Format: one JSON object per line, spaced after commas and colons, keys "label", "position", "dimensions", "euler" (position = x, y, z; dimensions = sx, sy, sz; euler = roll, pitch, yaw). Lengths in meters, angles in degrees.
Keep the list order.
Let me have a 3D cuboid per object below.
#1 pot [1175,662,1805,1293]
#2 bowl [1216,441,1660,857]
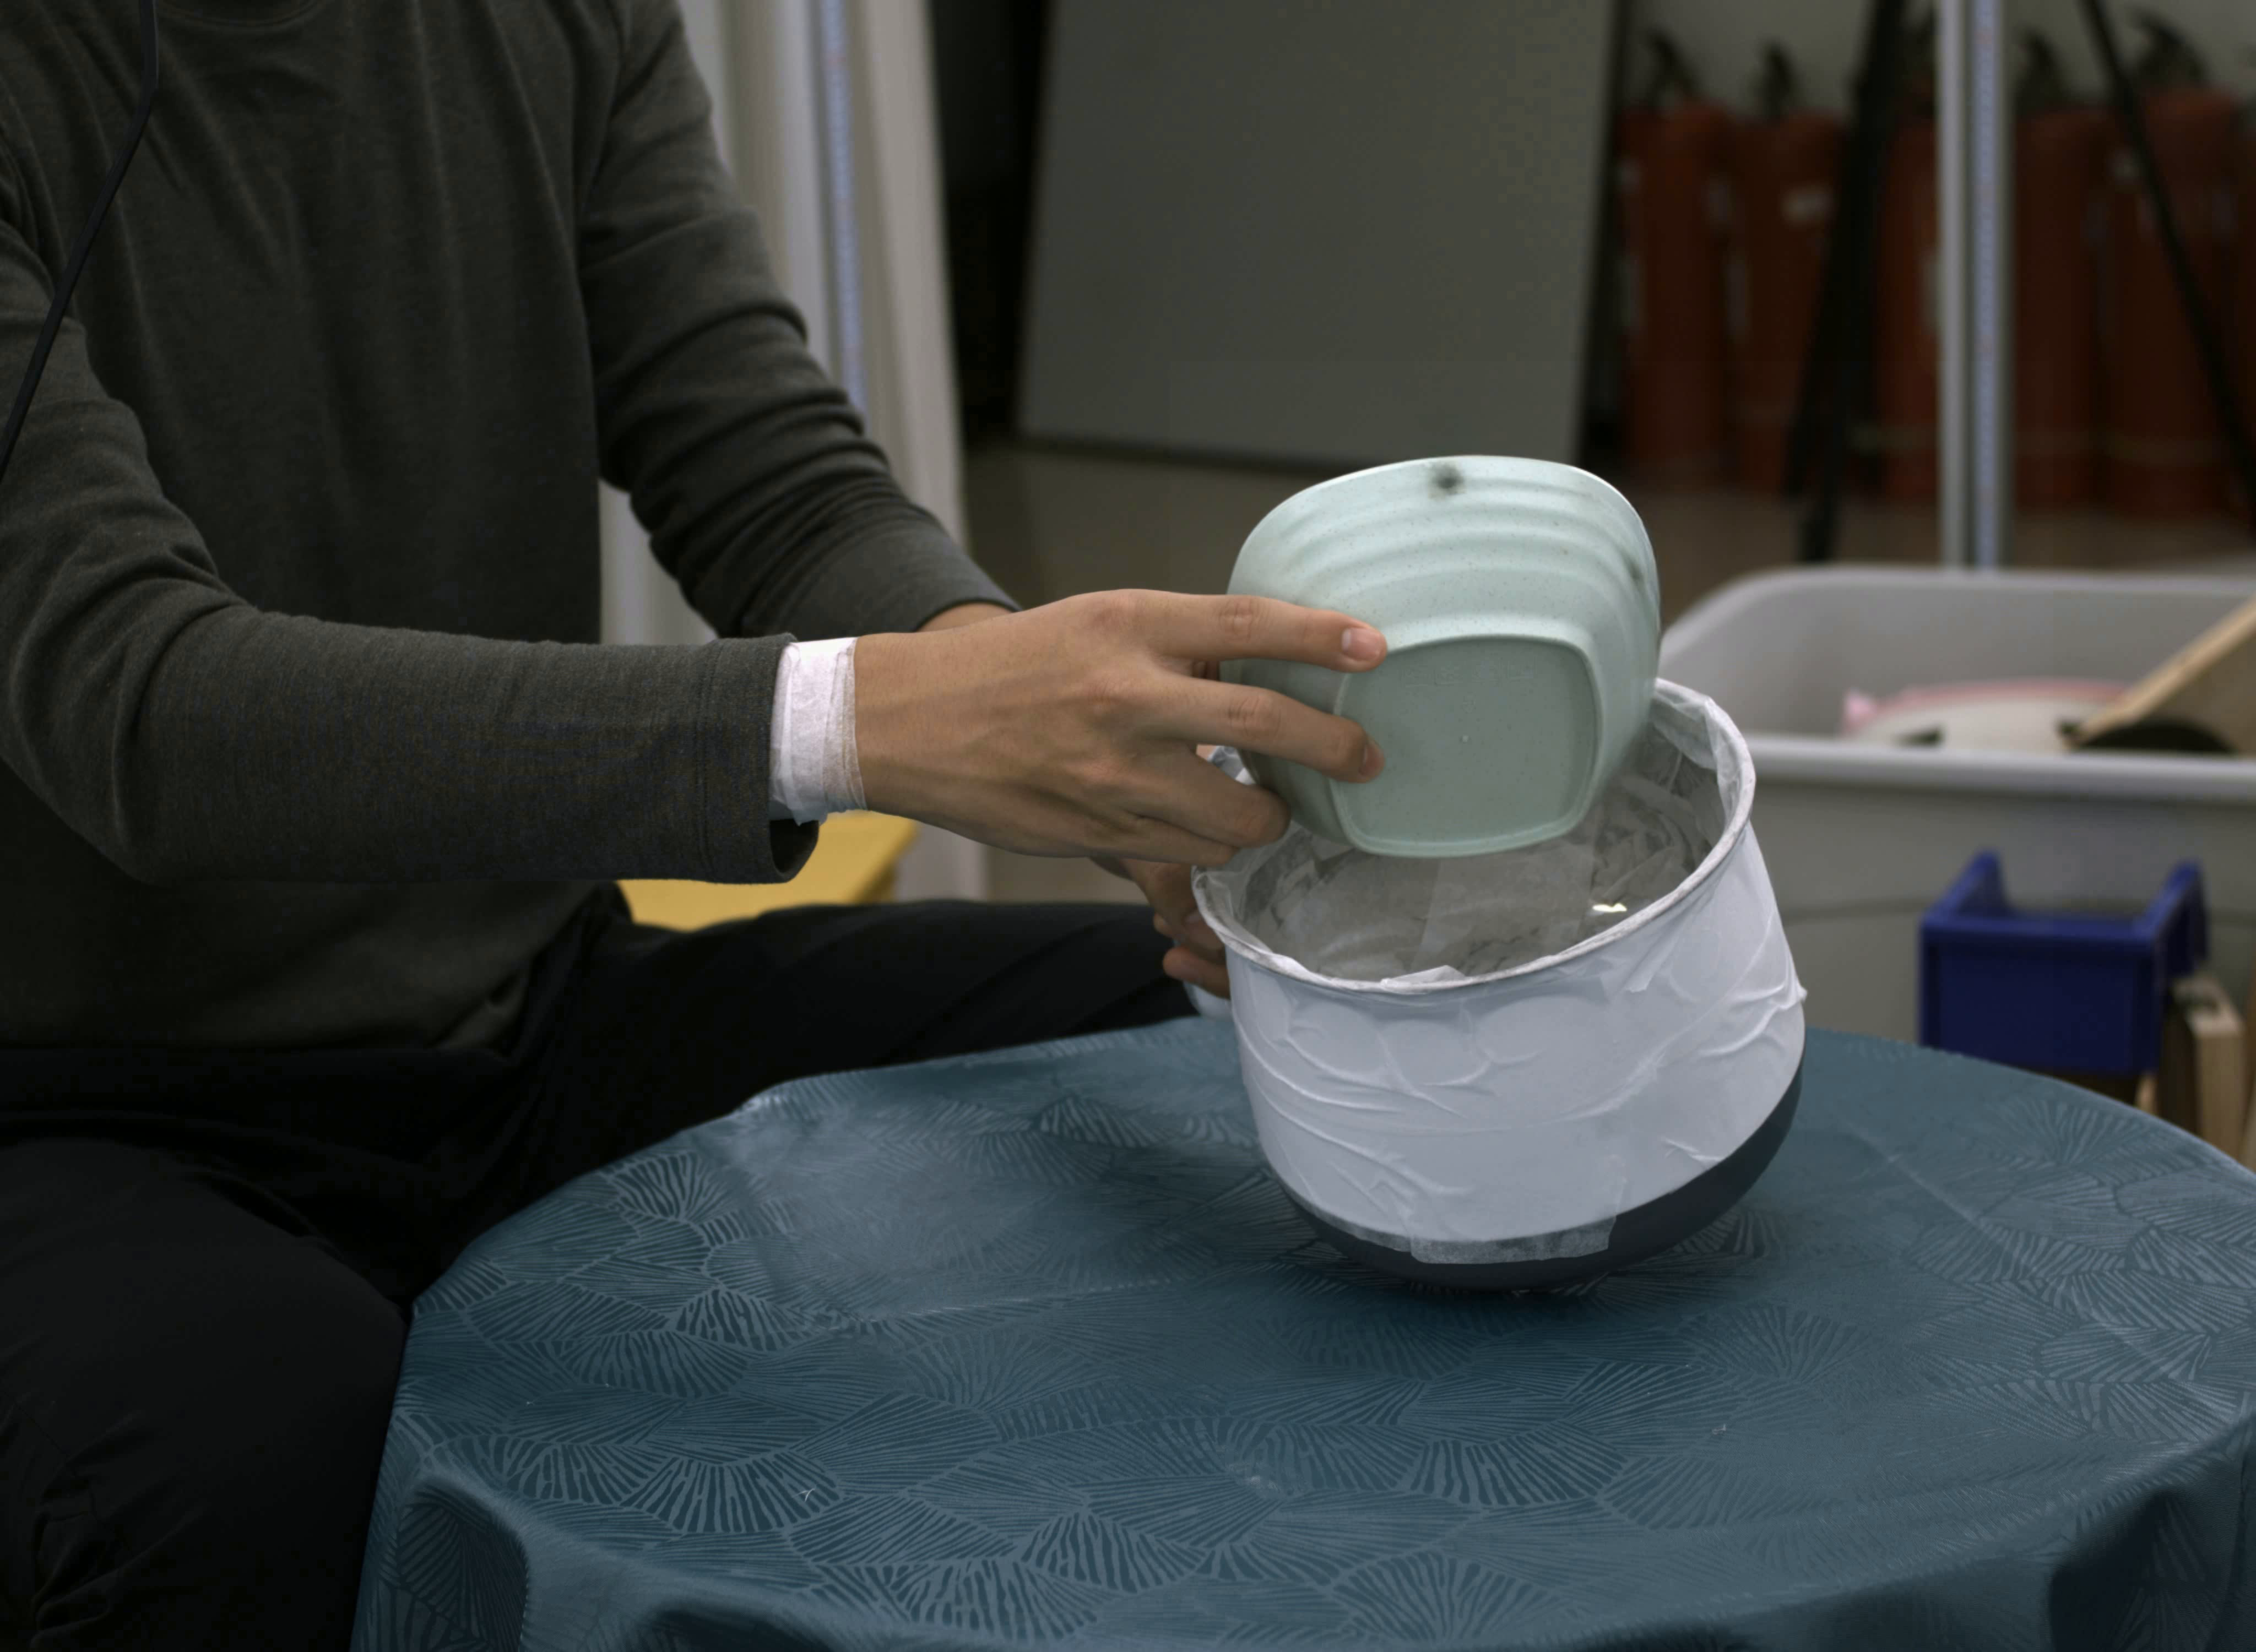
{"label": "pot", "position": [0.099, 0.042, 1.691], "dimensions": [0.236, 0.137, 0.176], "euler": [17, 44, 43]}
{"label": "bowl", "position": [0.097, -0.042, 1.638], "dimensions": [0.149, 0.152, 0.059], "euler": [-3, 36, 0]}
